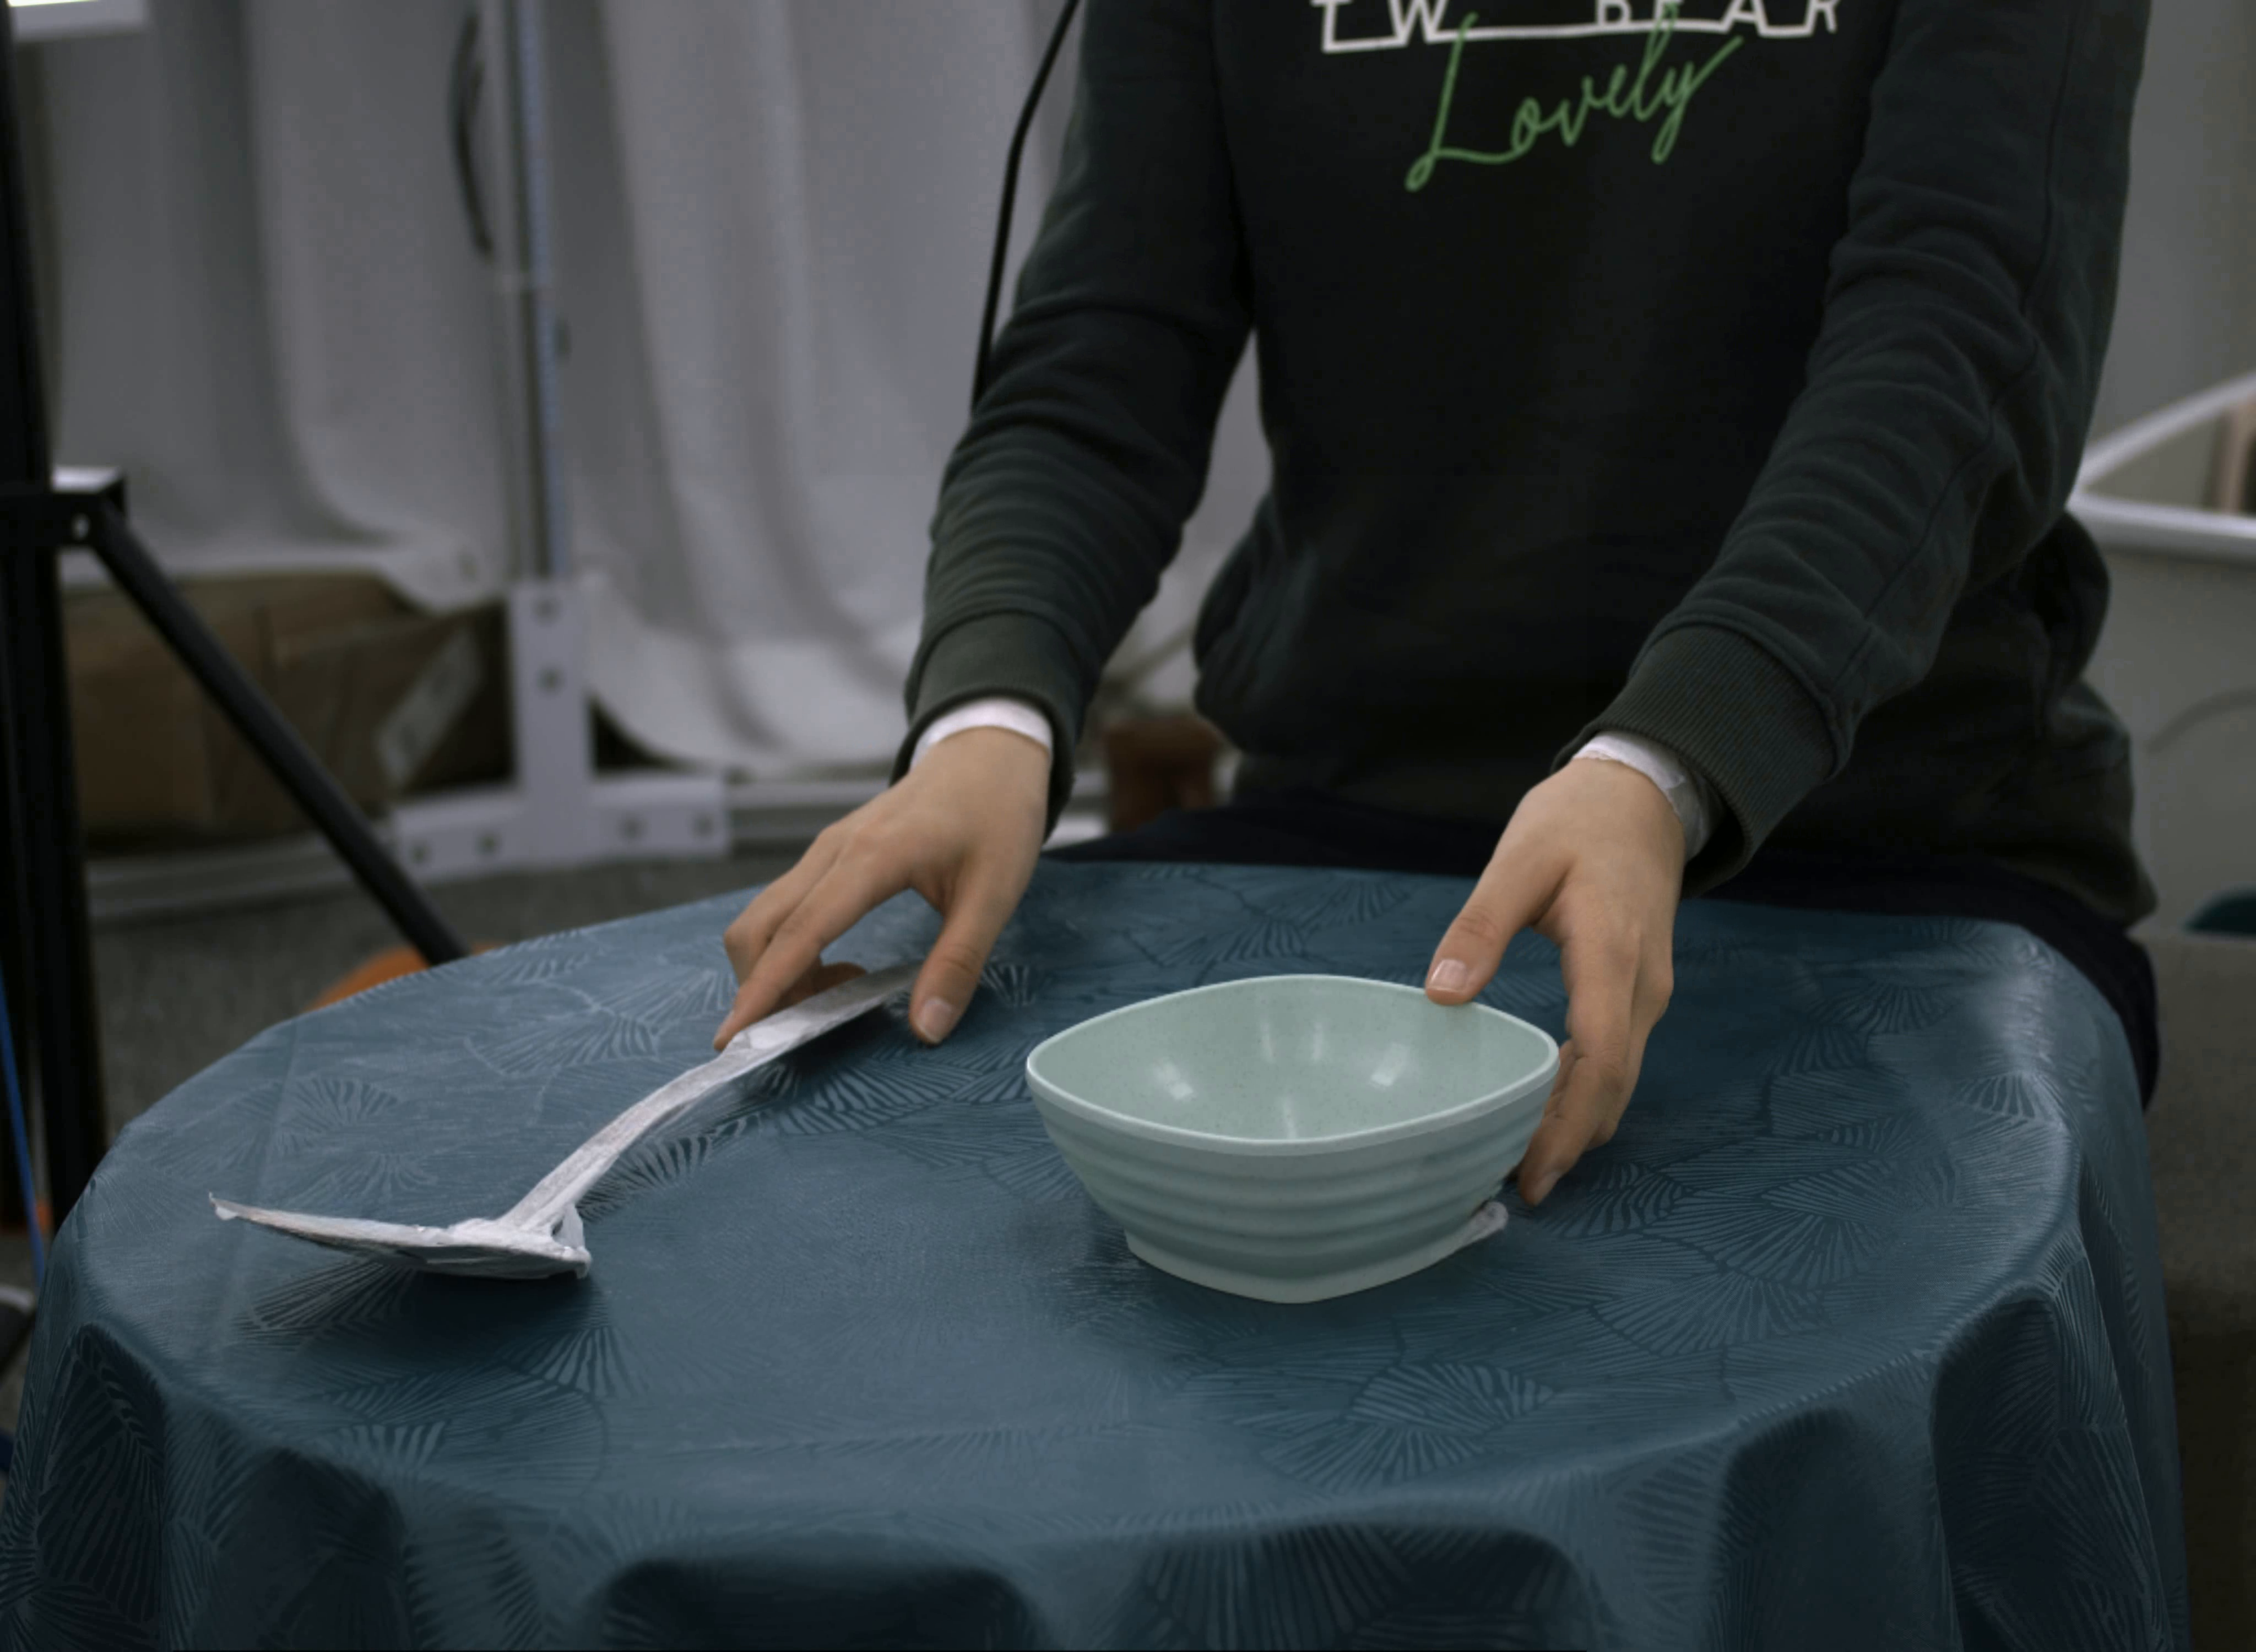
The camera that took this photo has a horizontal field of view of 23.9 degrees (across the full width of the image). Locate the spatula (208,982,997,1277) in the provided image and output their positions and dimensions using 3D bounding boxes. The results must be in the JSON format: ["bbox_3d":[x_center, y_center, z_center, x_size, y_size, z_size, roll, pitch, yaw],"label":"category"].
[{"bbox_3d":[-0.136,0.081,1.605,0.100,0.045,0.359,4,17,28],"label":"spatula"}]

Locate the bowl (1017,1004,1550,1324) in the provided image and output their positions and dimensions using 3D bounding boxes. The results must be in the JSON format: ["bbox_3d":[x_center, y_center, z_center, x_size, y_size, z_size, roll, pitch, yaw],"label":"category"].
[{"bbox_3d":[0.043,0.098,1.504,0.150,0.059,0.152,1,13,-2],"label":"bowl"}]
